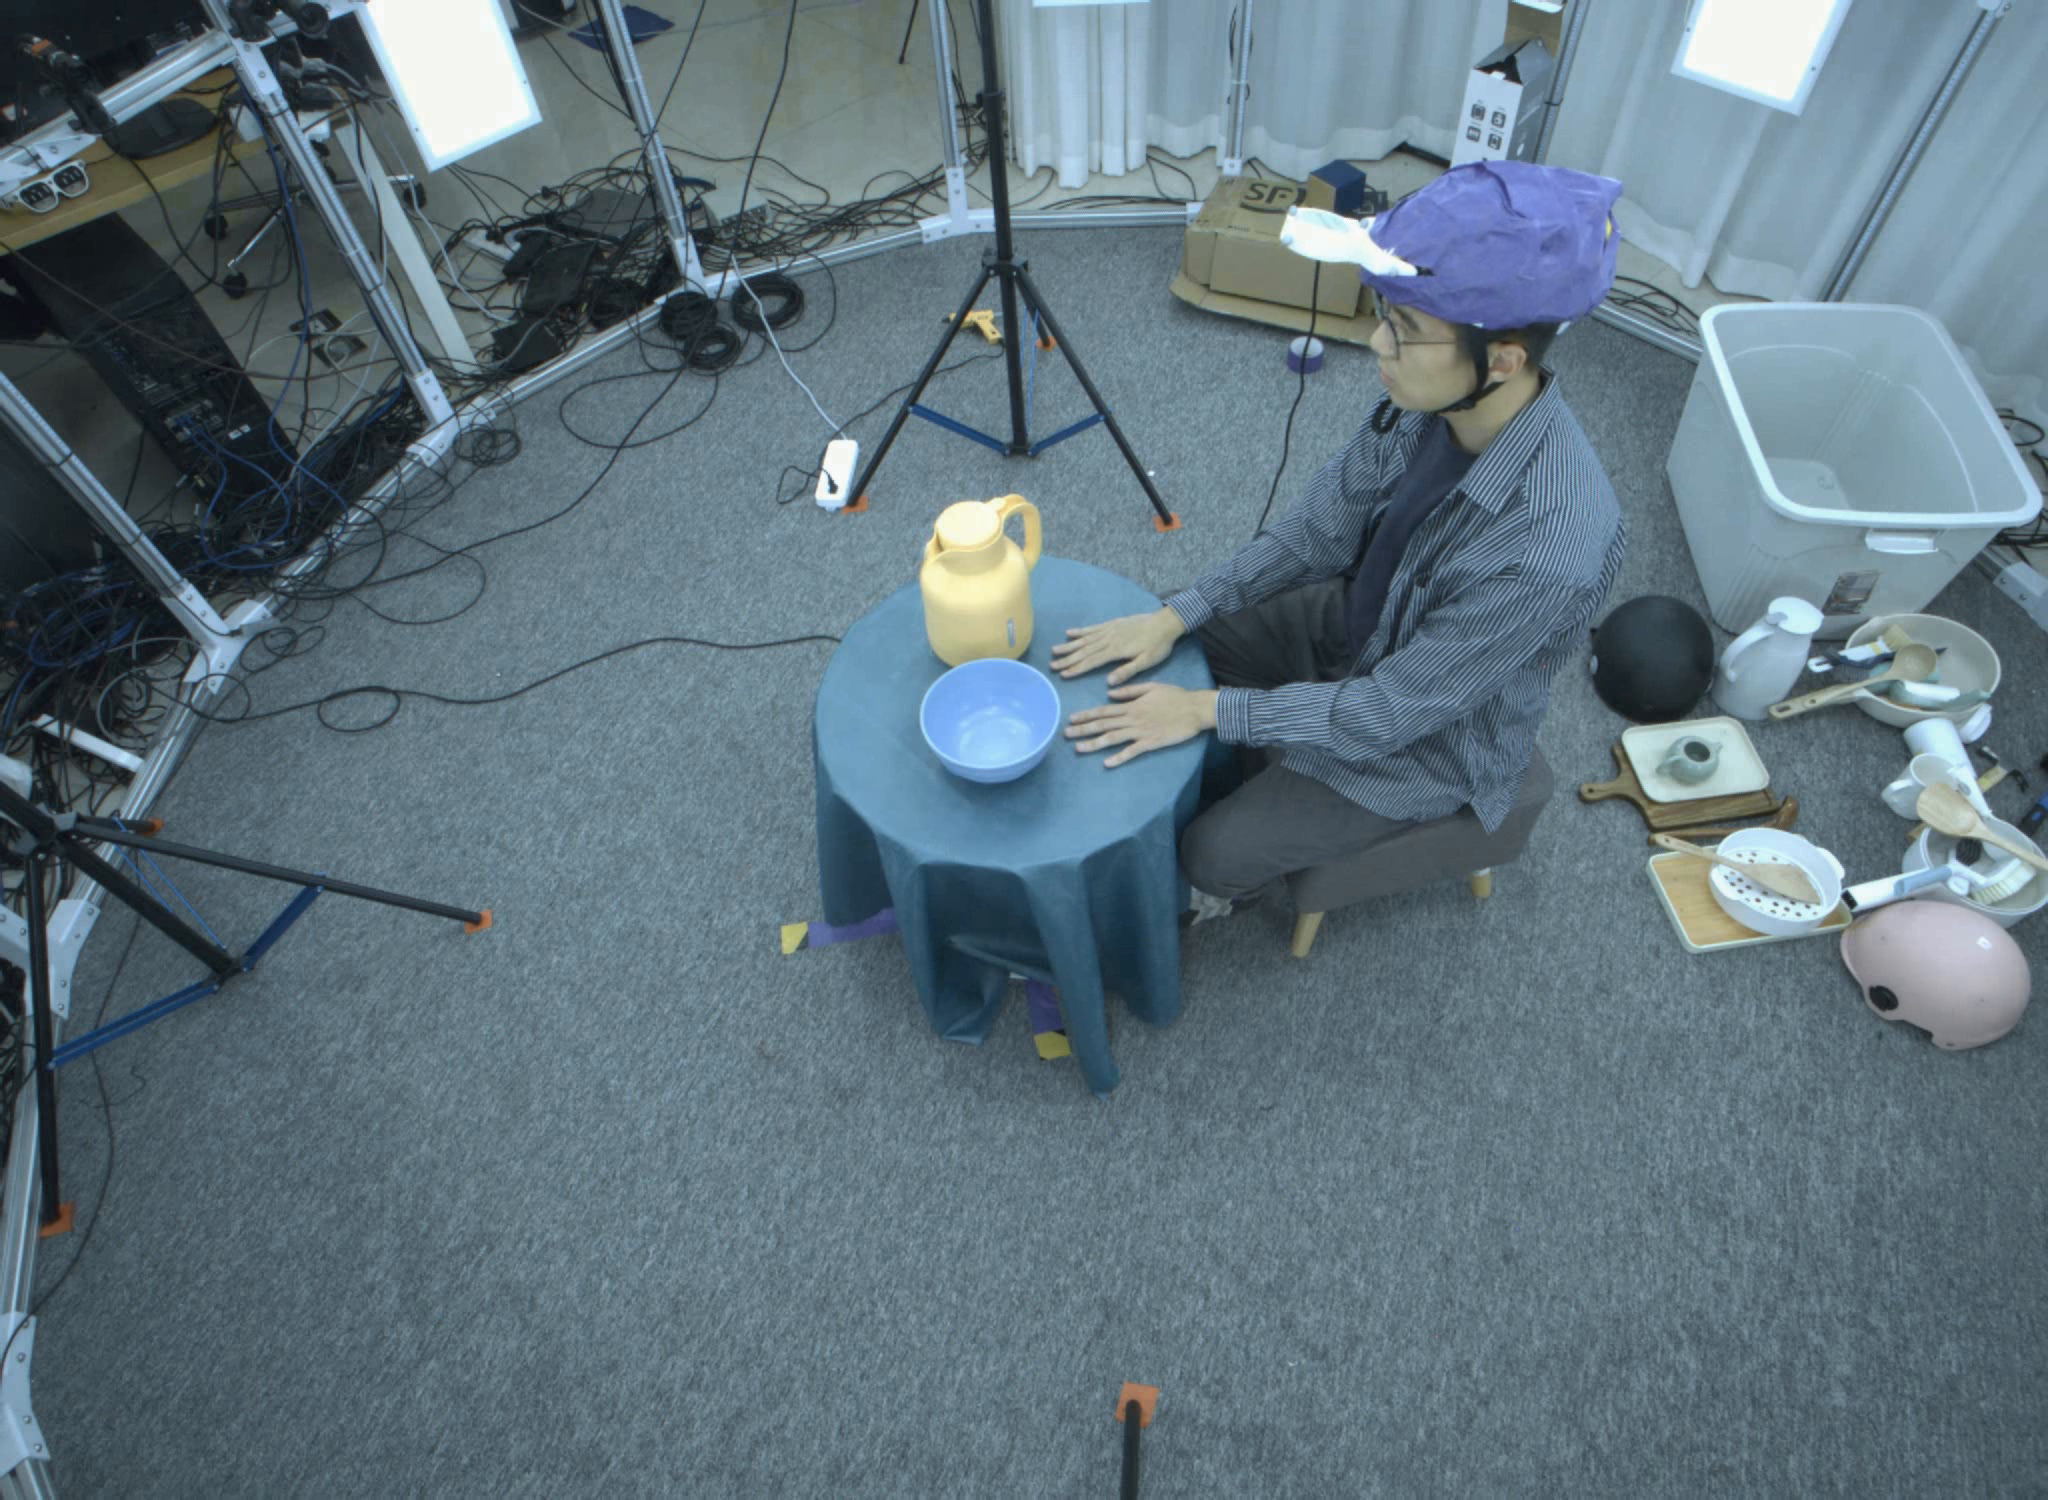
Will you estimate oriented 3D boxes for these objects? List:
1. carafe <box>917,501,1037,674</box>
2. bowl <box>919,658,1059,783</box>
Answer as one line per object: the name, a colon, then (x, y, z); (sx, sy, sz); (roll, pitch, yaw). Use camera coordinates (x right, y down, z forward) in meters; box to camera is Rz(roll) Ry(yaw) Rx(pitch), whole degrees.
carafe: (-0.060, -0.244, 1.806); (0.204, 0.263, 0.160); (-37, 60, -22)
bowl: (-0.046, -0.027, 1.755); (0.196, 0.096, 0.194); (-1, 55, 2)
